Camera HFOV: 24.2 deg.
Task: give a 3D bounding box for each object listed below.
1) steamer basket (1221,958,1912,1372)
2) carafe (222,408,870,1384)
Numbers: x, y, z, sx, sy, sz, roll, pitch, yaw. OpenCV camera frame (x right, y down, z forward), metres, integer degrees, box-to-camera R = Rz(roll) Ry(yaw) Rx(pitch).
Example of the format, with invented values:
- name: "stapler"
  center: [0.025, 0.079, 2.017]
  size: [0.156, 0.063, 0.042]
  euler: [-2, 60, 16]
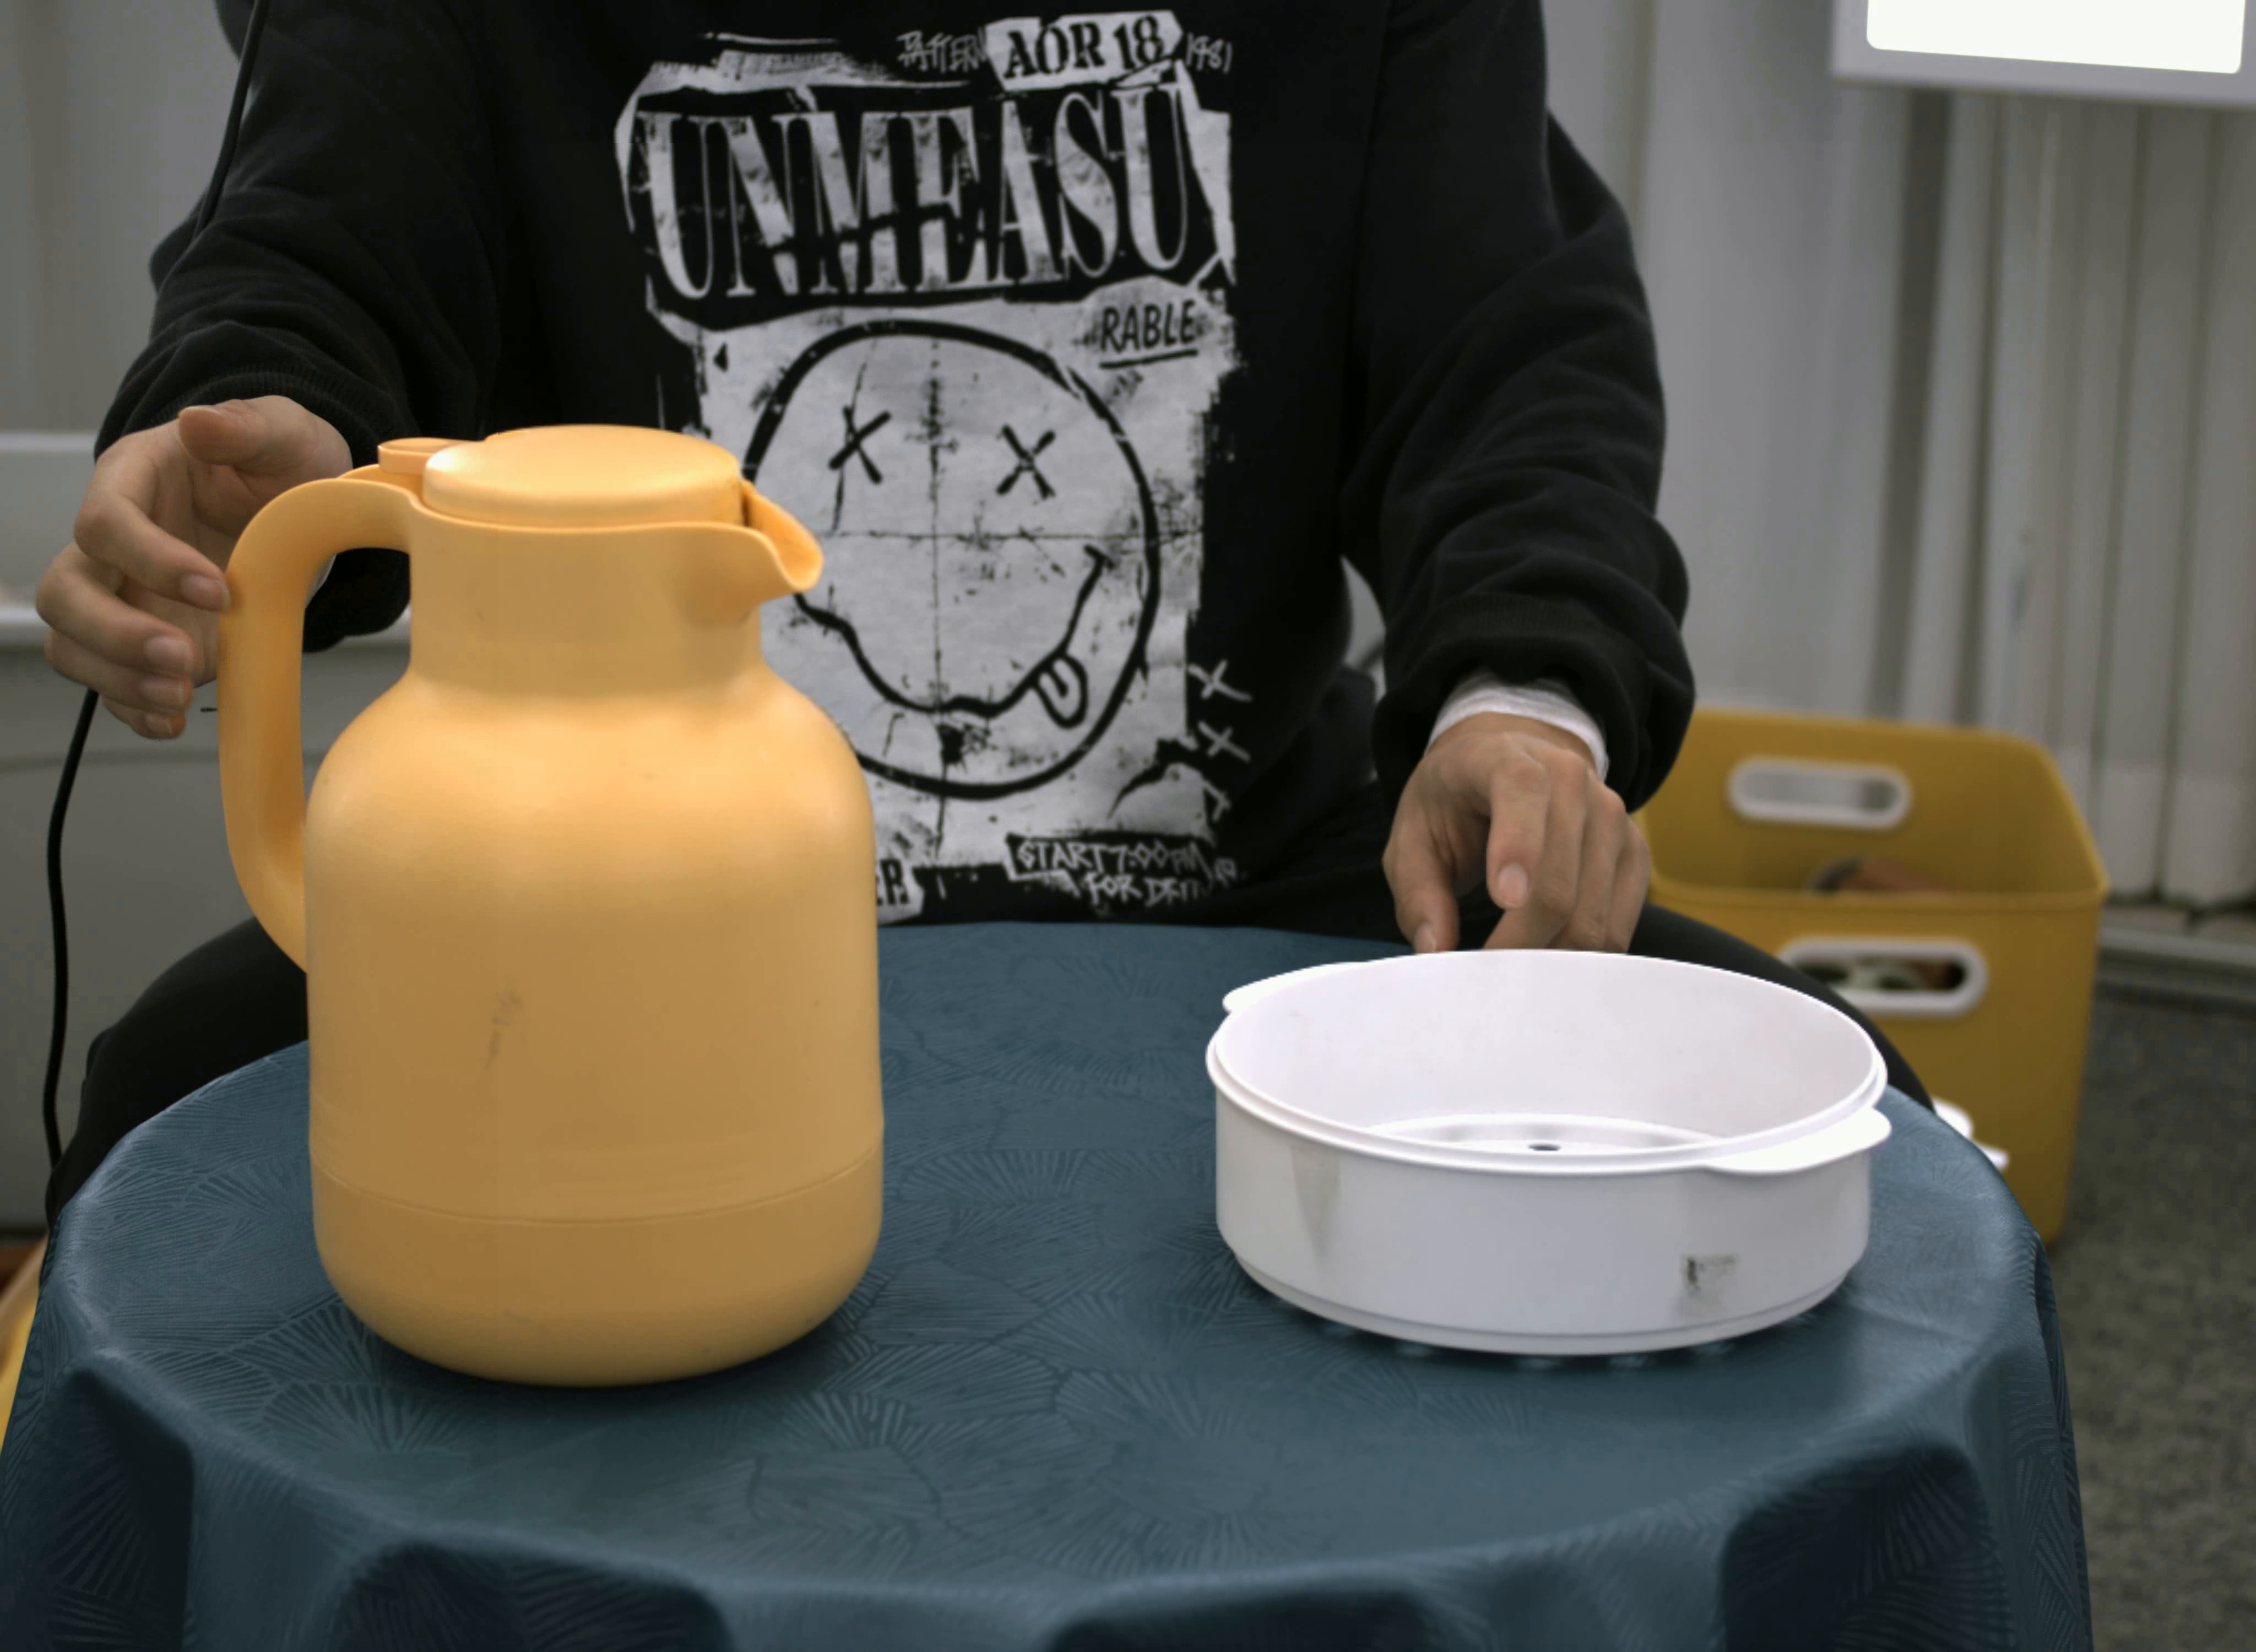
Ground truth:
- name: "steamer basket"
  center: [0.127, 0.099, 1.555]
  size: [0.203, 0.070, 0.227]
  euler: [-15, 22, -42]
- name: "carafe"
  center: [-0.168, 0.012, 1.484]
  size: [0.200, 0.262, 0.164]
  euler: [12, 17, 29]
